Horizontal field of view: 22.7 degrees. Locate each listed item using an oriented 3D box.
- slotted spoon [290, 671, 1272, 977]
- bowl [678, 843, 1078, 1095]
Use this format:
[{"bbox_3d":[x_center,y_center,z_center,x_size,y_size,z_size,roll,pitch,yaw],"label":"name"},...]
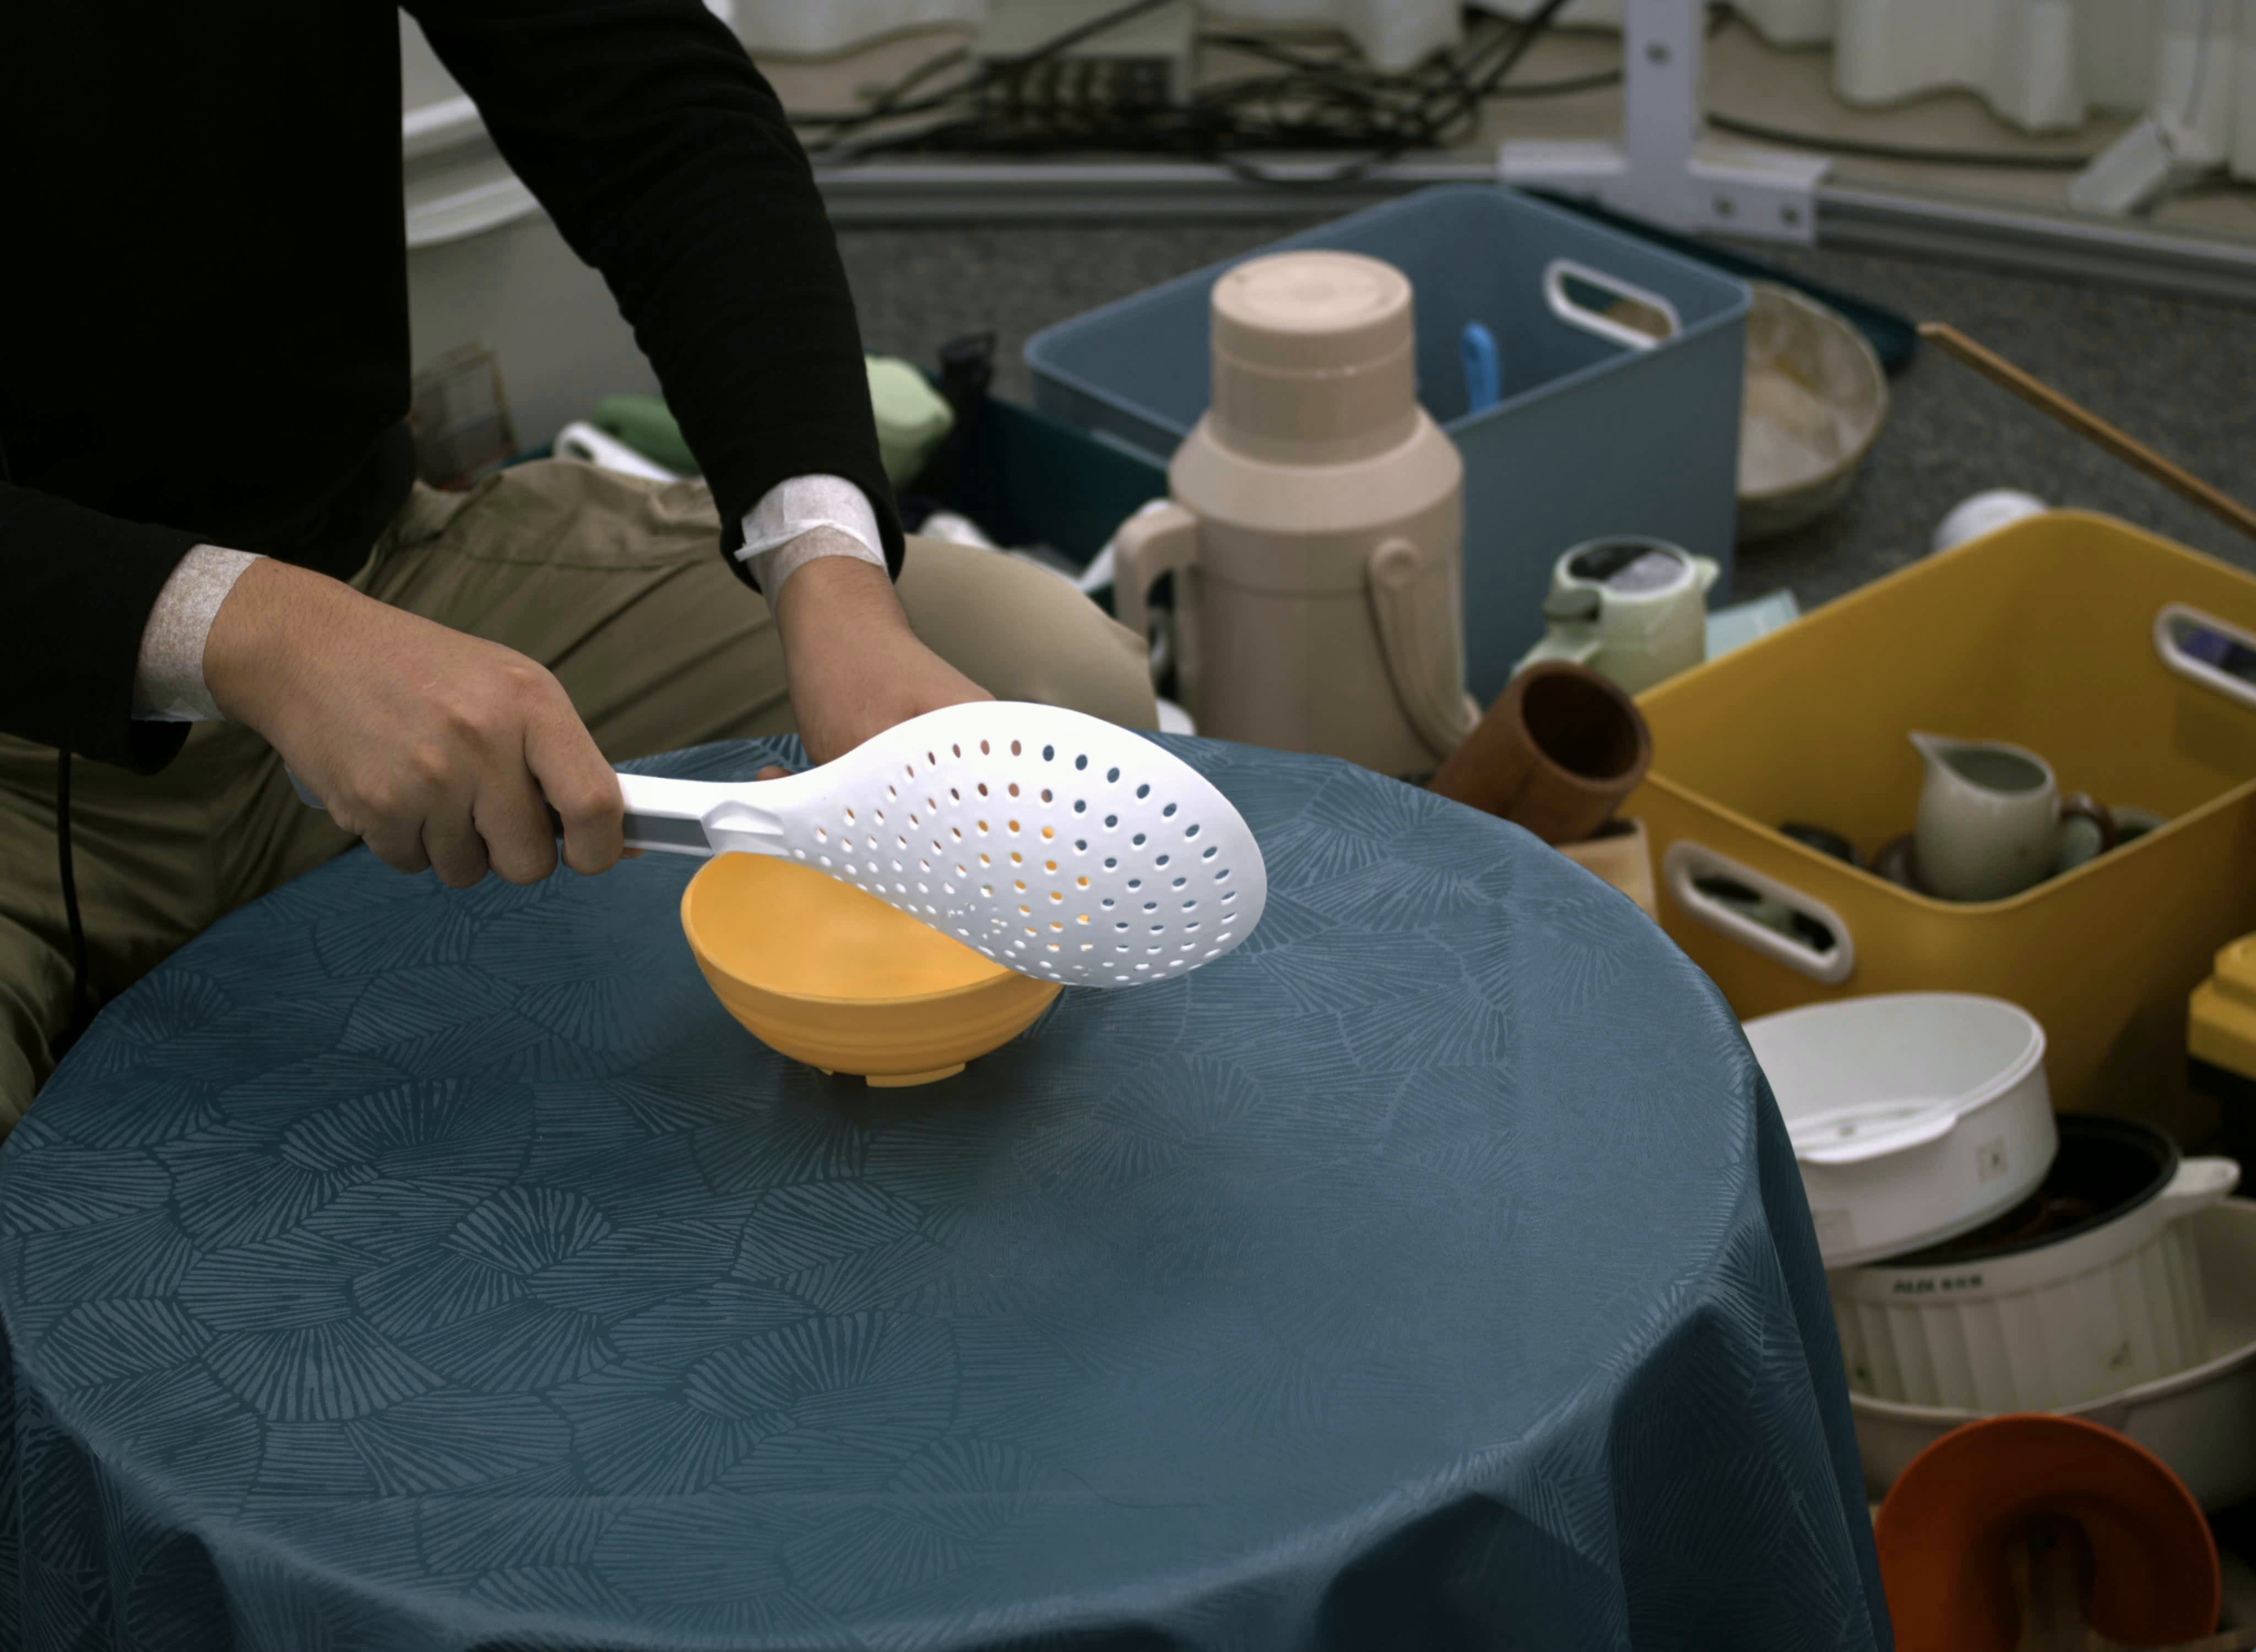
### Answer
[{"bbox_3d":[-0.121,-0.004,1.869,0.347,0.134,0.046,8,48,23],"label":"slotted spoon"},{"bbox_3d":[-0.083,0.052,1.947,0.144,0.059,0.147,0,26,0],"label":"bowl"}]
